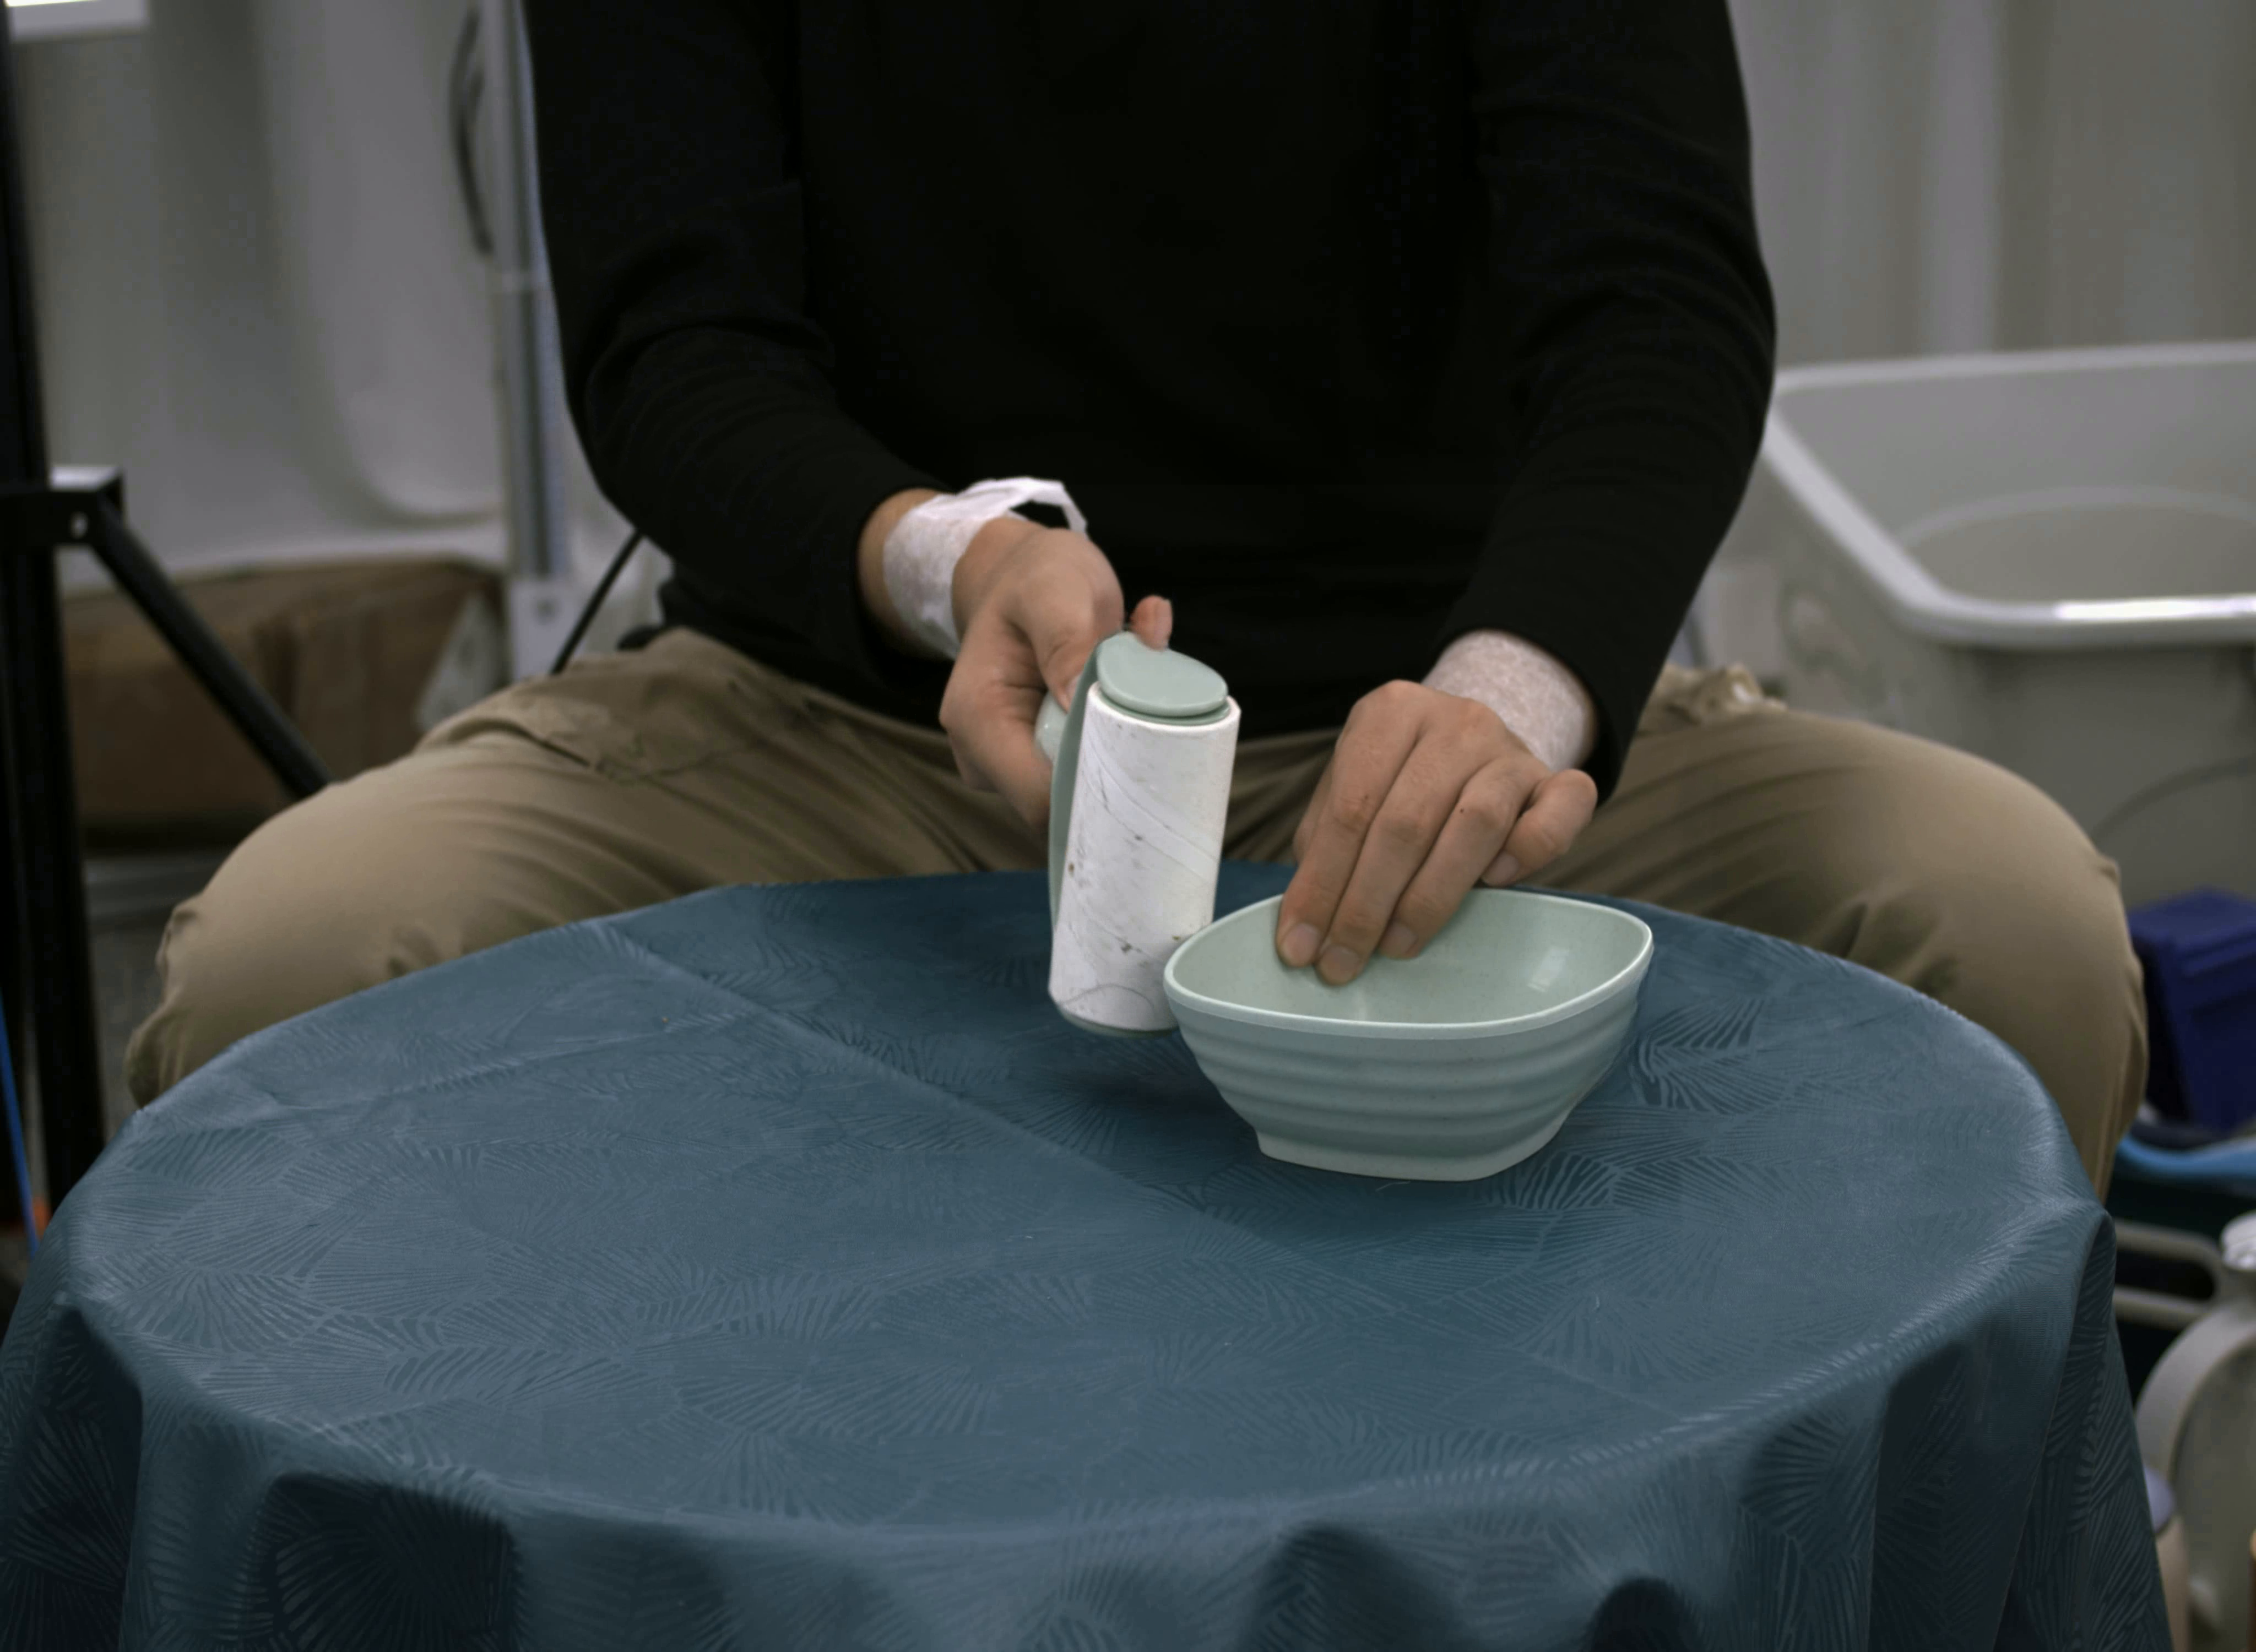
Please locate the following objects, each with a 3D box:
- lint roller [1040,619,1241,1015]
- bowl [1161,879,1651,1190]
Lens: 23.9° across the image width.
[{"bbox_3d":[-0.003,-0.027,1.687,0.048,0.117,0.200,3,21,-9],"label":"lint roller"},{"bbox_3d":[0.084,0.066,1.590,0.150,0.058,0.152,-2,17,-1],"label":"bowl"}]
